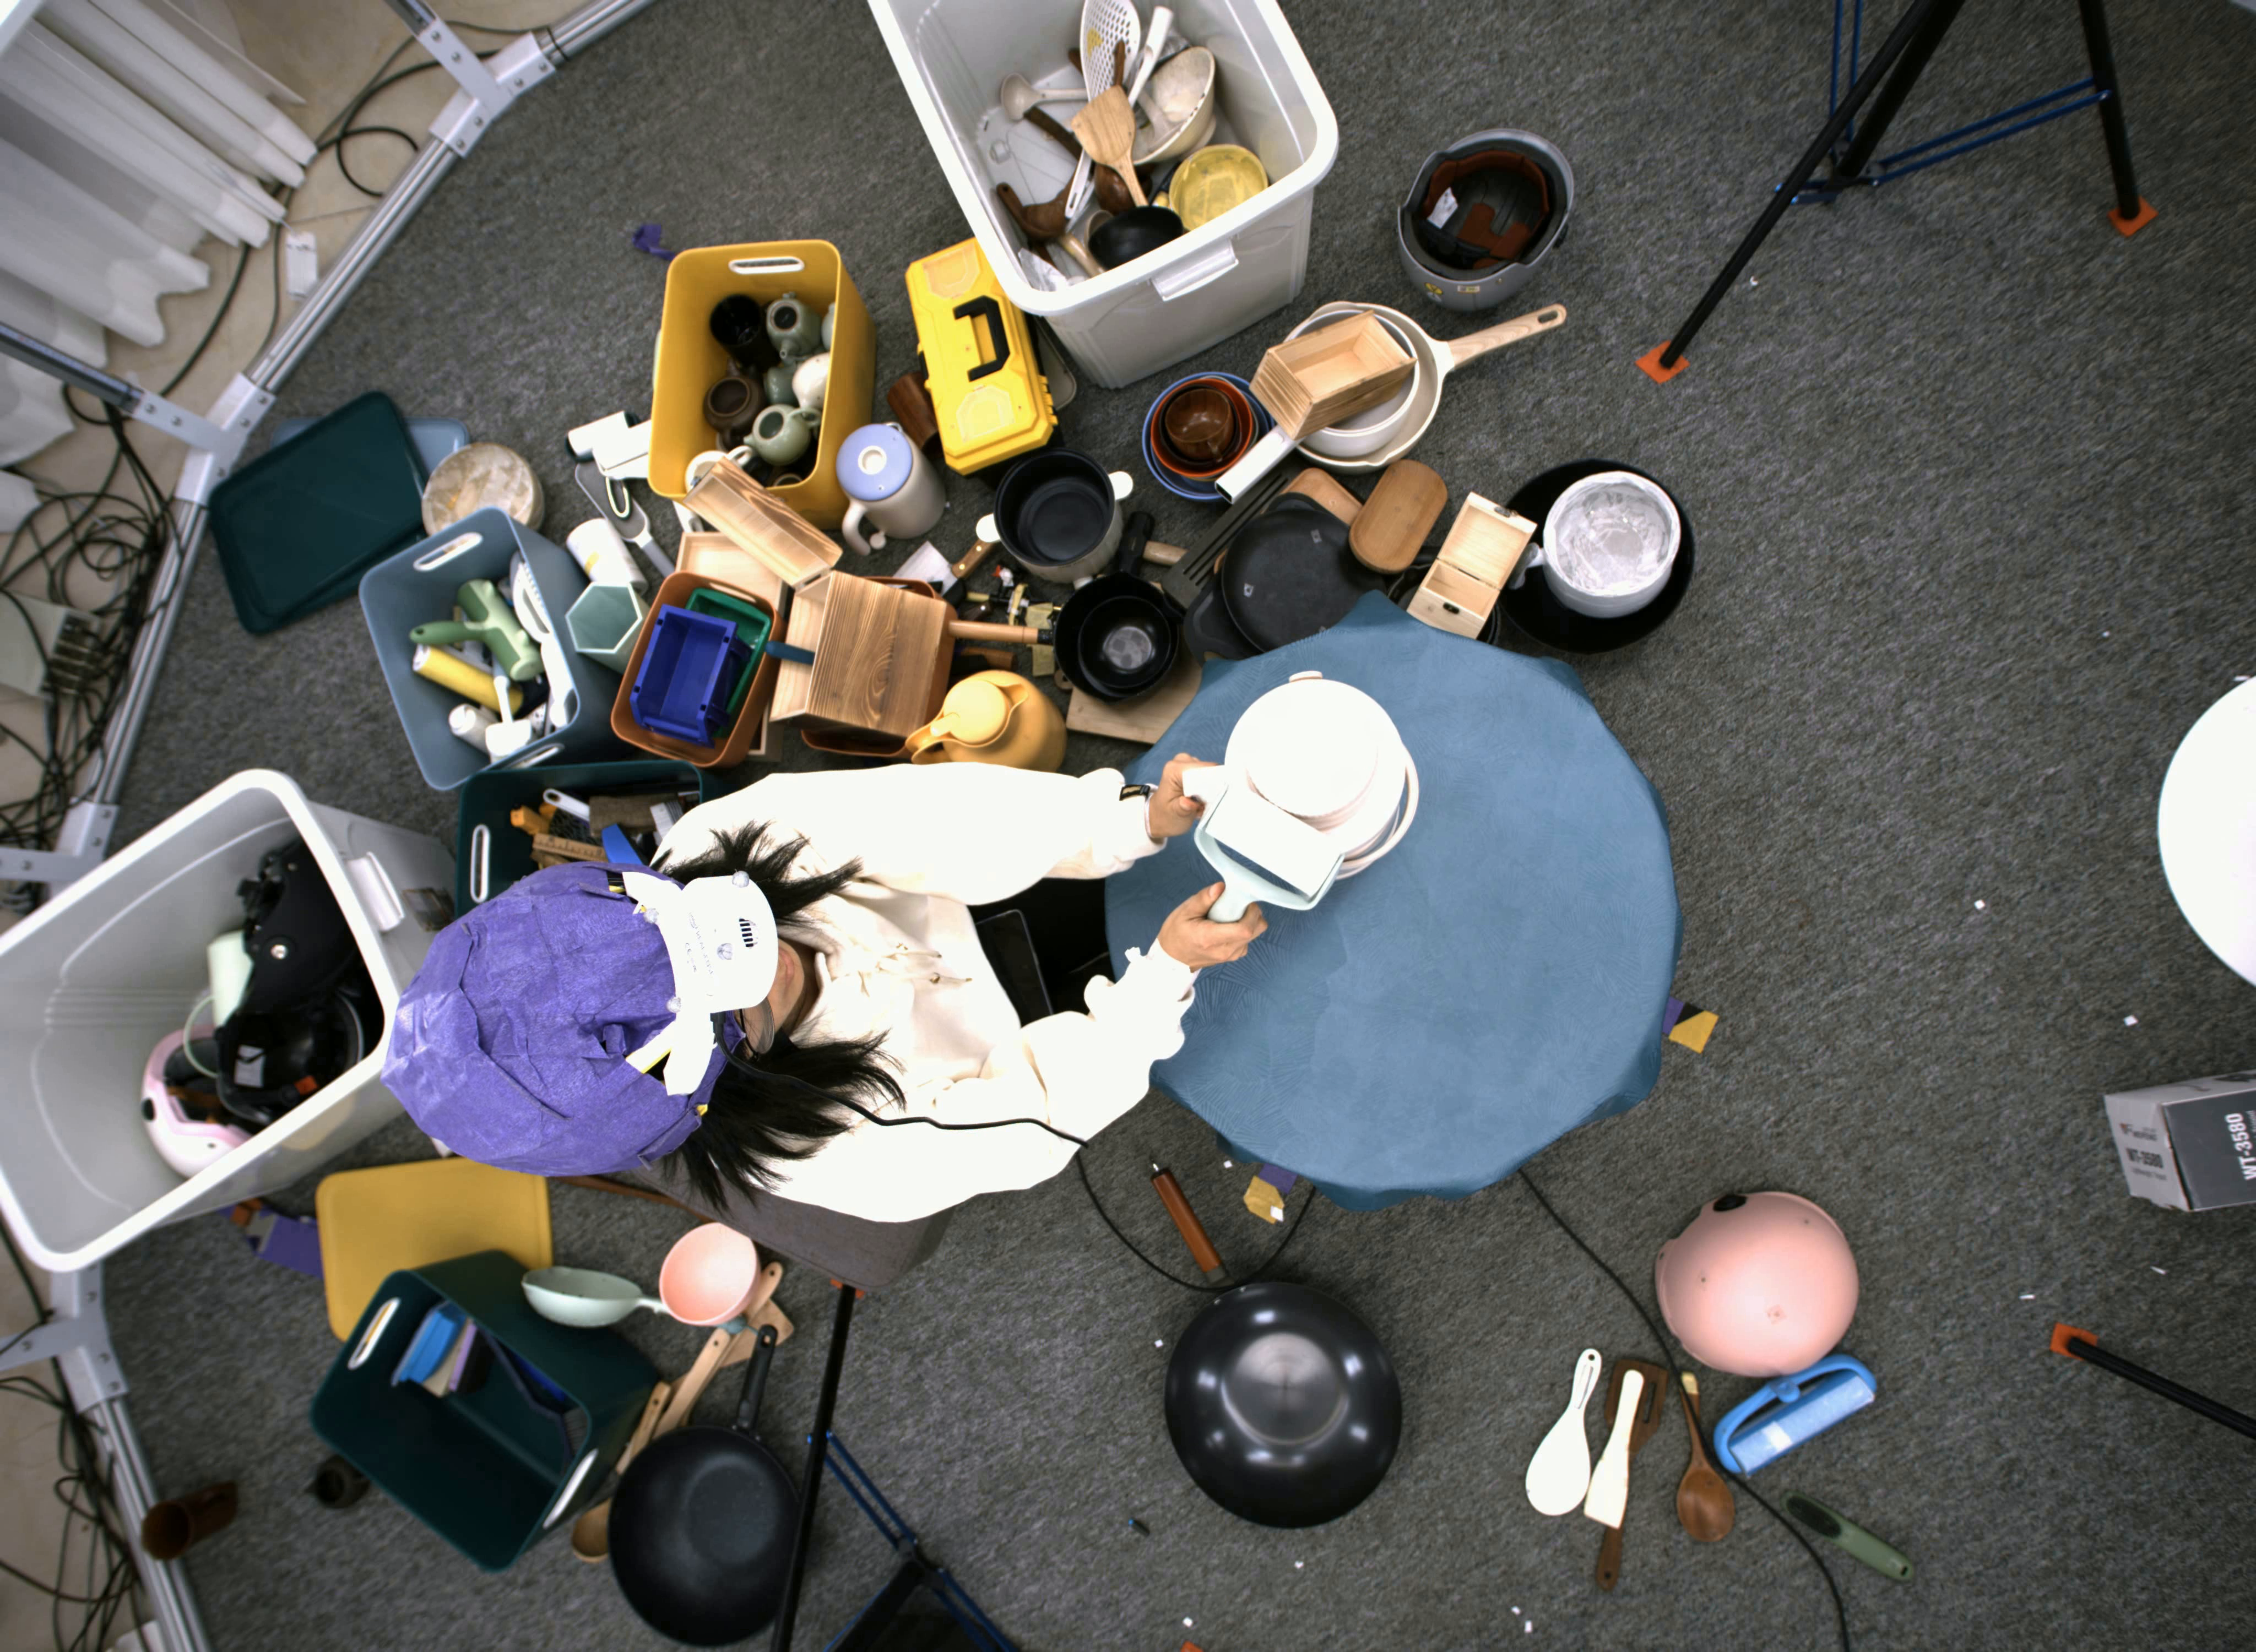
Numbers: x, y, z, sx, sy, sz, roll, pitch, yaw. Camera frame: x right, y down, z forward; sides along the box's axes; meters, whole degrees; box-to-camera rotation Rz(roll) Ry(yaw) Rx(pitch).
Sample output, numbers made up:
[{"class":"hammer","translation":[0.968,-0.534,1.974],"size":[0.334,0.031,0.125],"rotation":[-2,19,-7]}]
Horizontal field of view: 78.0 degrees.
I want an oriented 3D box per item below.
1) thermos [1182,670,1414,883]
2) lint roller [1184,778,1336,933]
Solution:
[{"class":"thermos","translation":[0.163,-0.040,1.285],"size":[0.208,0.407,0.174],"rotation":[-6,84,9]},{"class":"lint roller","translation":[0.089,0.045,1.156],"size":[0.116,0.202,0.047],"rotation":[29,54,3]}]
